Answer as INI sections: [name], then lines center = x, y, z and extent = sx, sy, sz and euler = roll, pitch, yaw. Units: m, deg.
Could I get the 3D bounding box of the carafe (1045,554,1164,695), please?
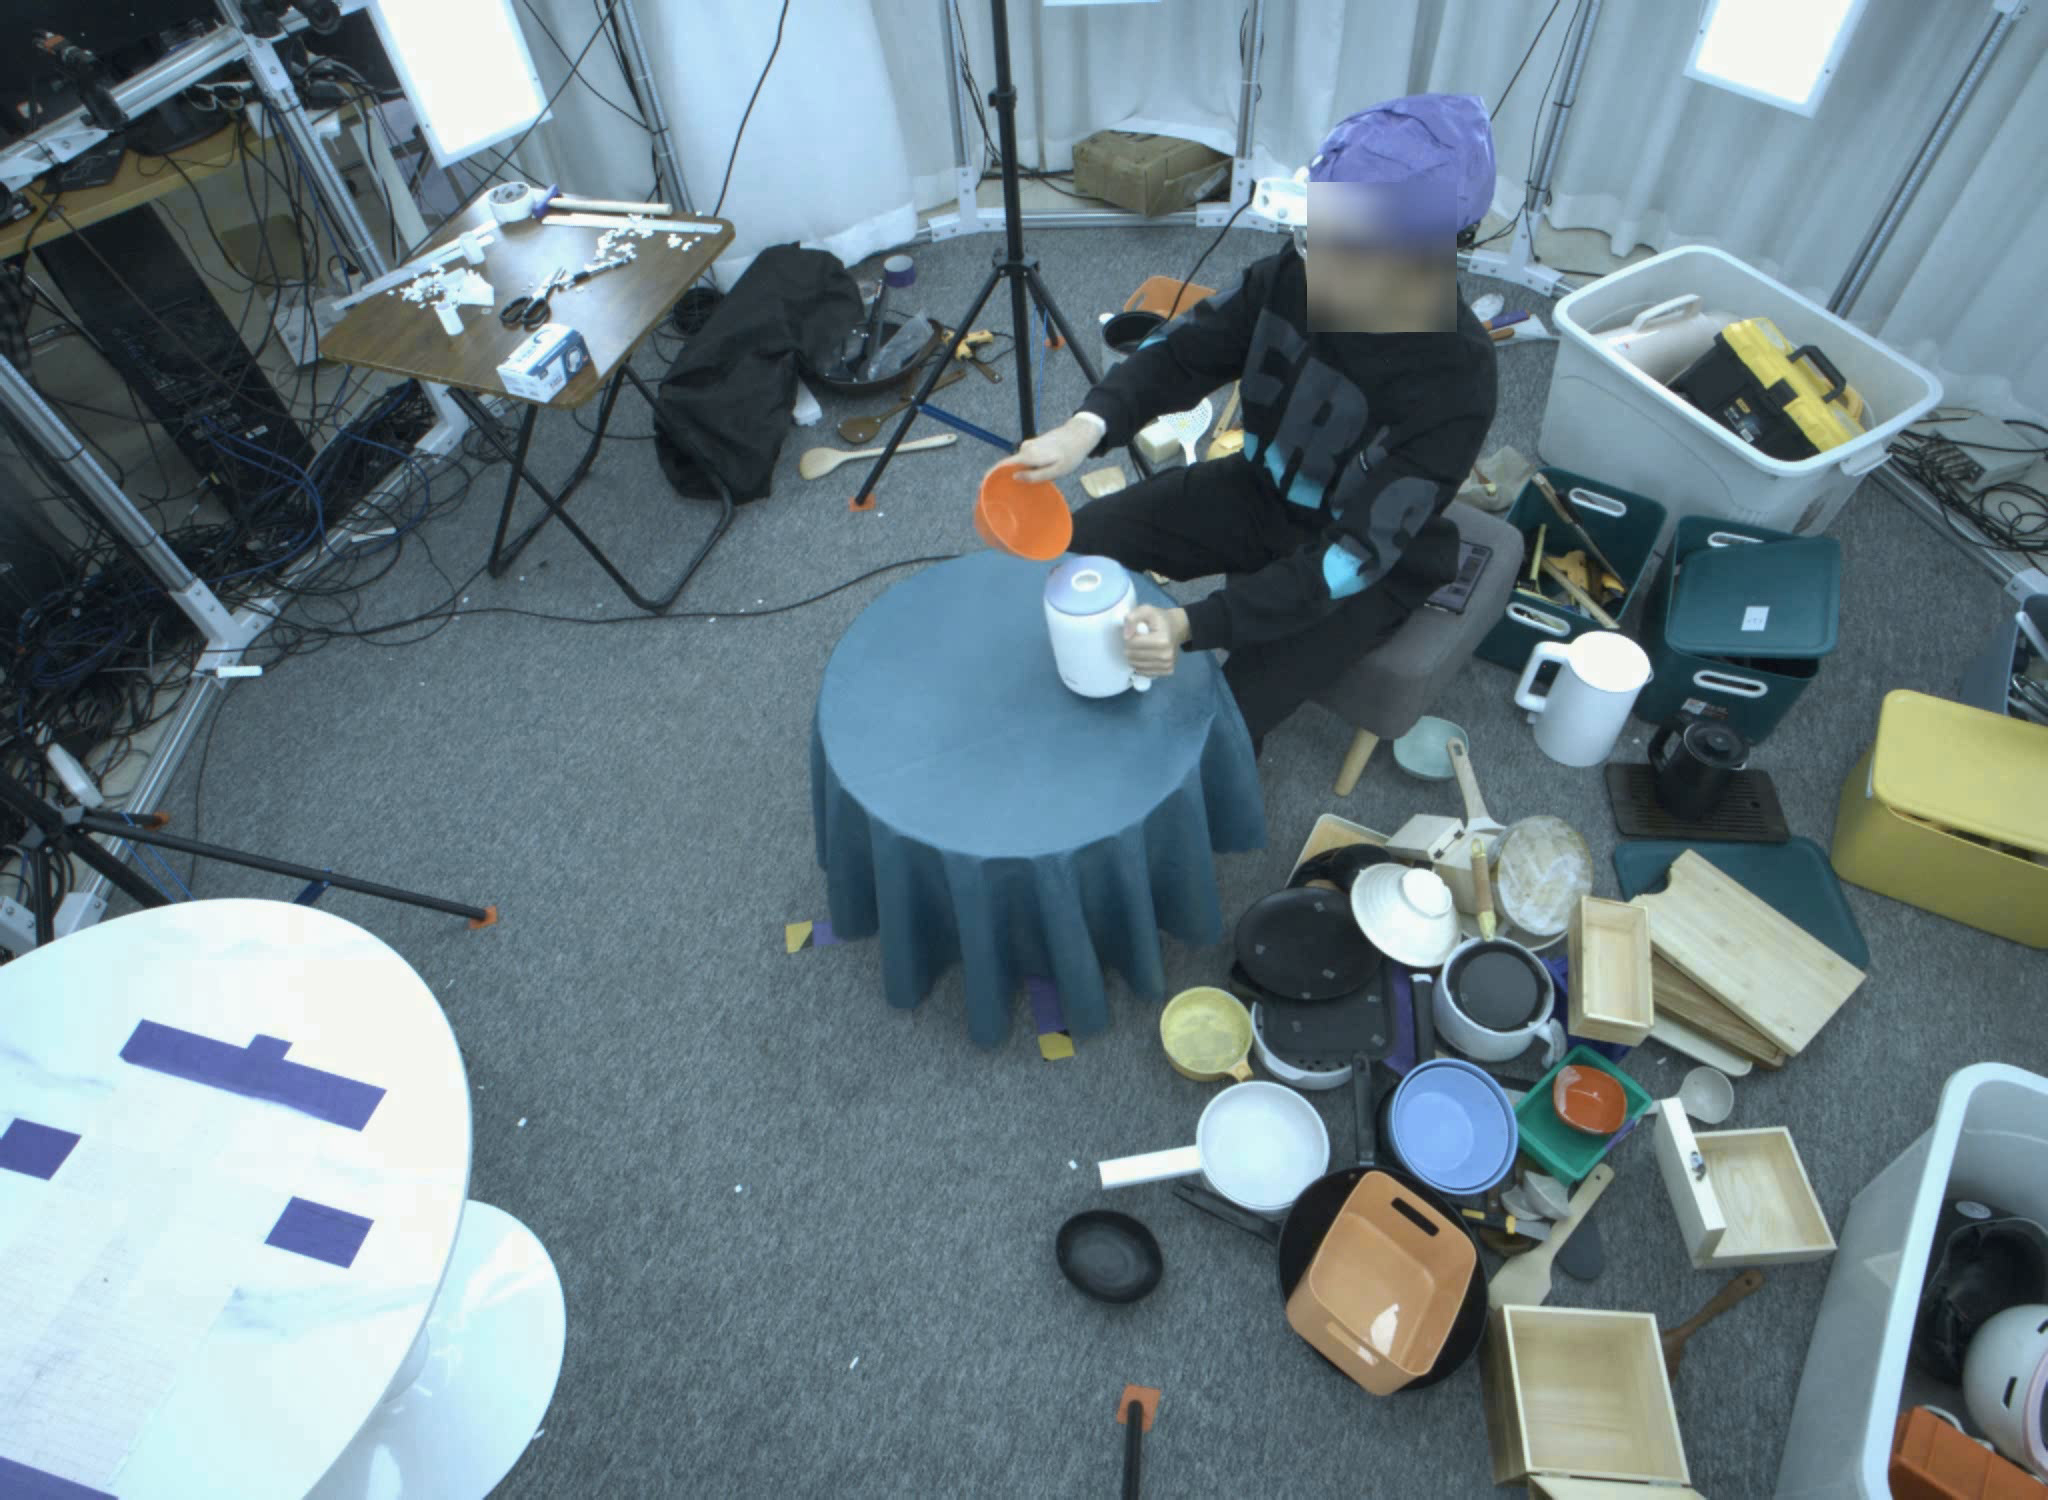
[carafe]
center = 0.120, -0.168, 1.764
extent = 0.187, 0.185, 0.133
euler = 33, 65, 29

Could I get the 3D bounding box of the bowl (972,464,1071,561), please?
[bowl]
center = -0.020, -0.320, 1.706
extent = 0.151, 0.103, 0.147
euler = 7, 78, -33
